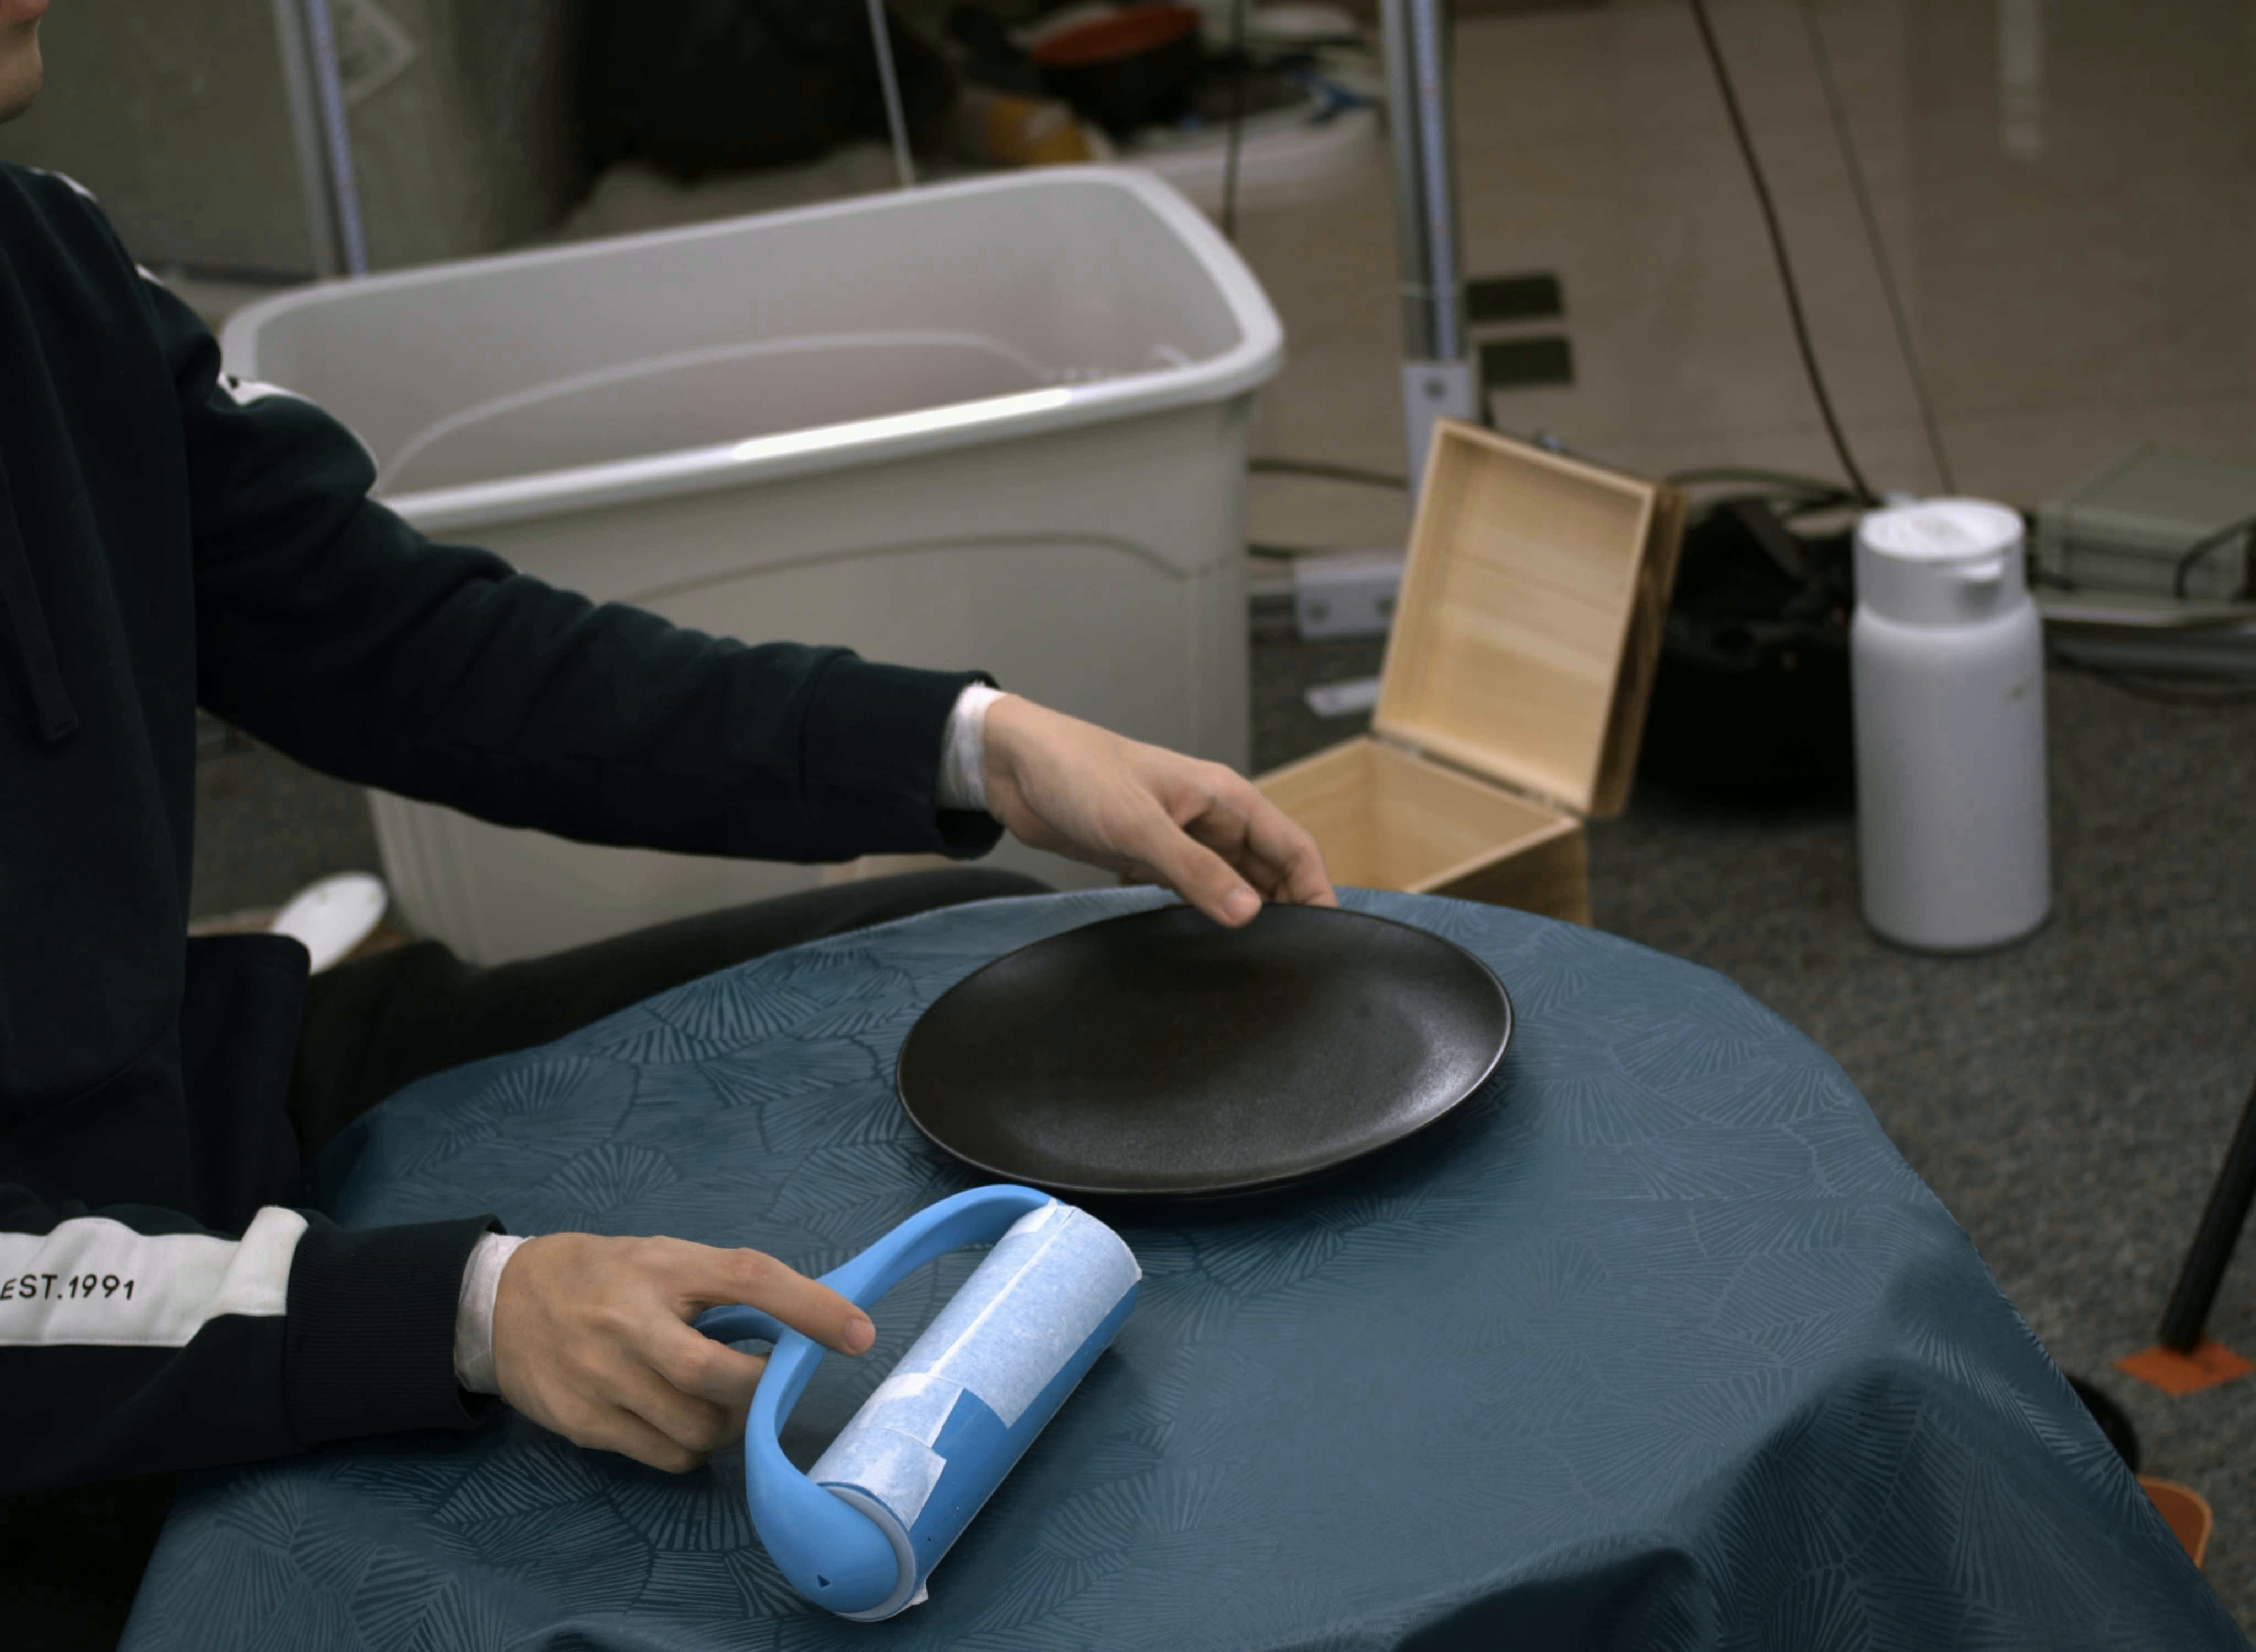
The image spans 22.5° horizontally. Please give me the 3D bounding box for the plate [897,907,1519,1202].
[{"bbox_3d":[0.032,0.093,2.208,0.244,0.024,0.241,-5,25,3],"label":"plate"}]

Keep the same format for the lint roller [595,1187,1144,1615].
[{"bbox_3d":[-0.110,0.196,1.982,0.180,0.069,0.226,3,27,21],"label":"lint roller"}]
